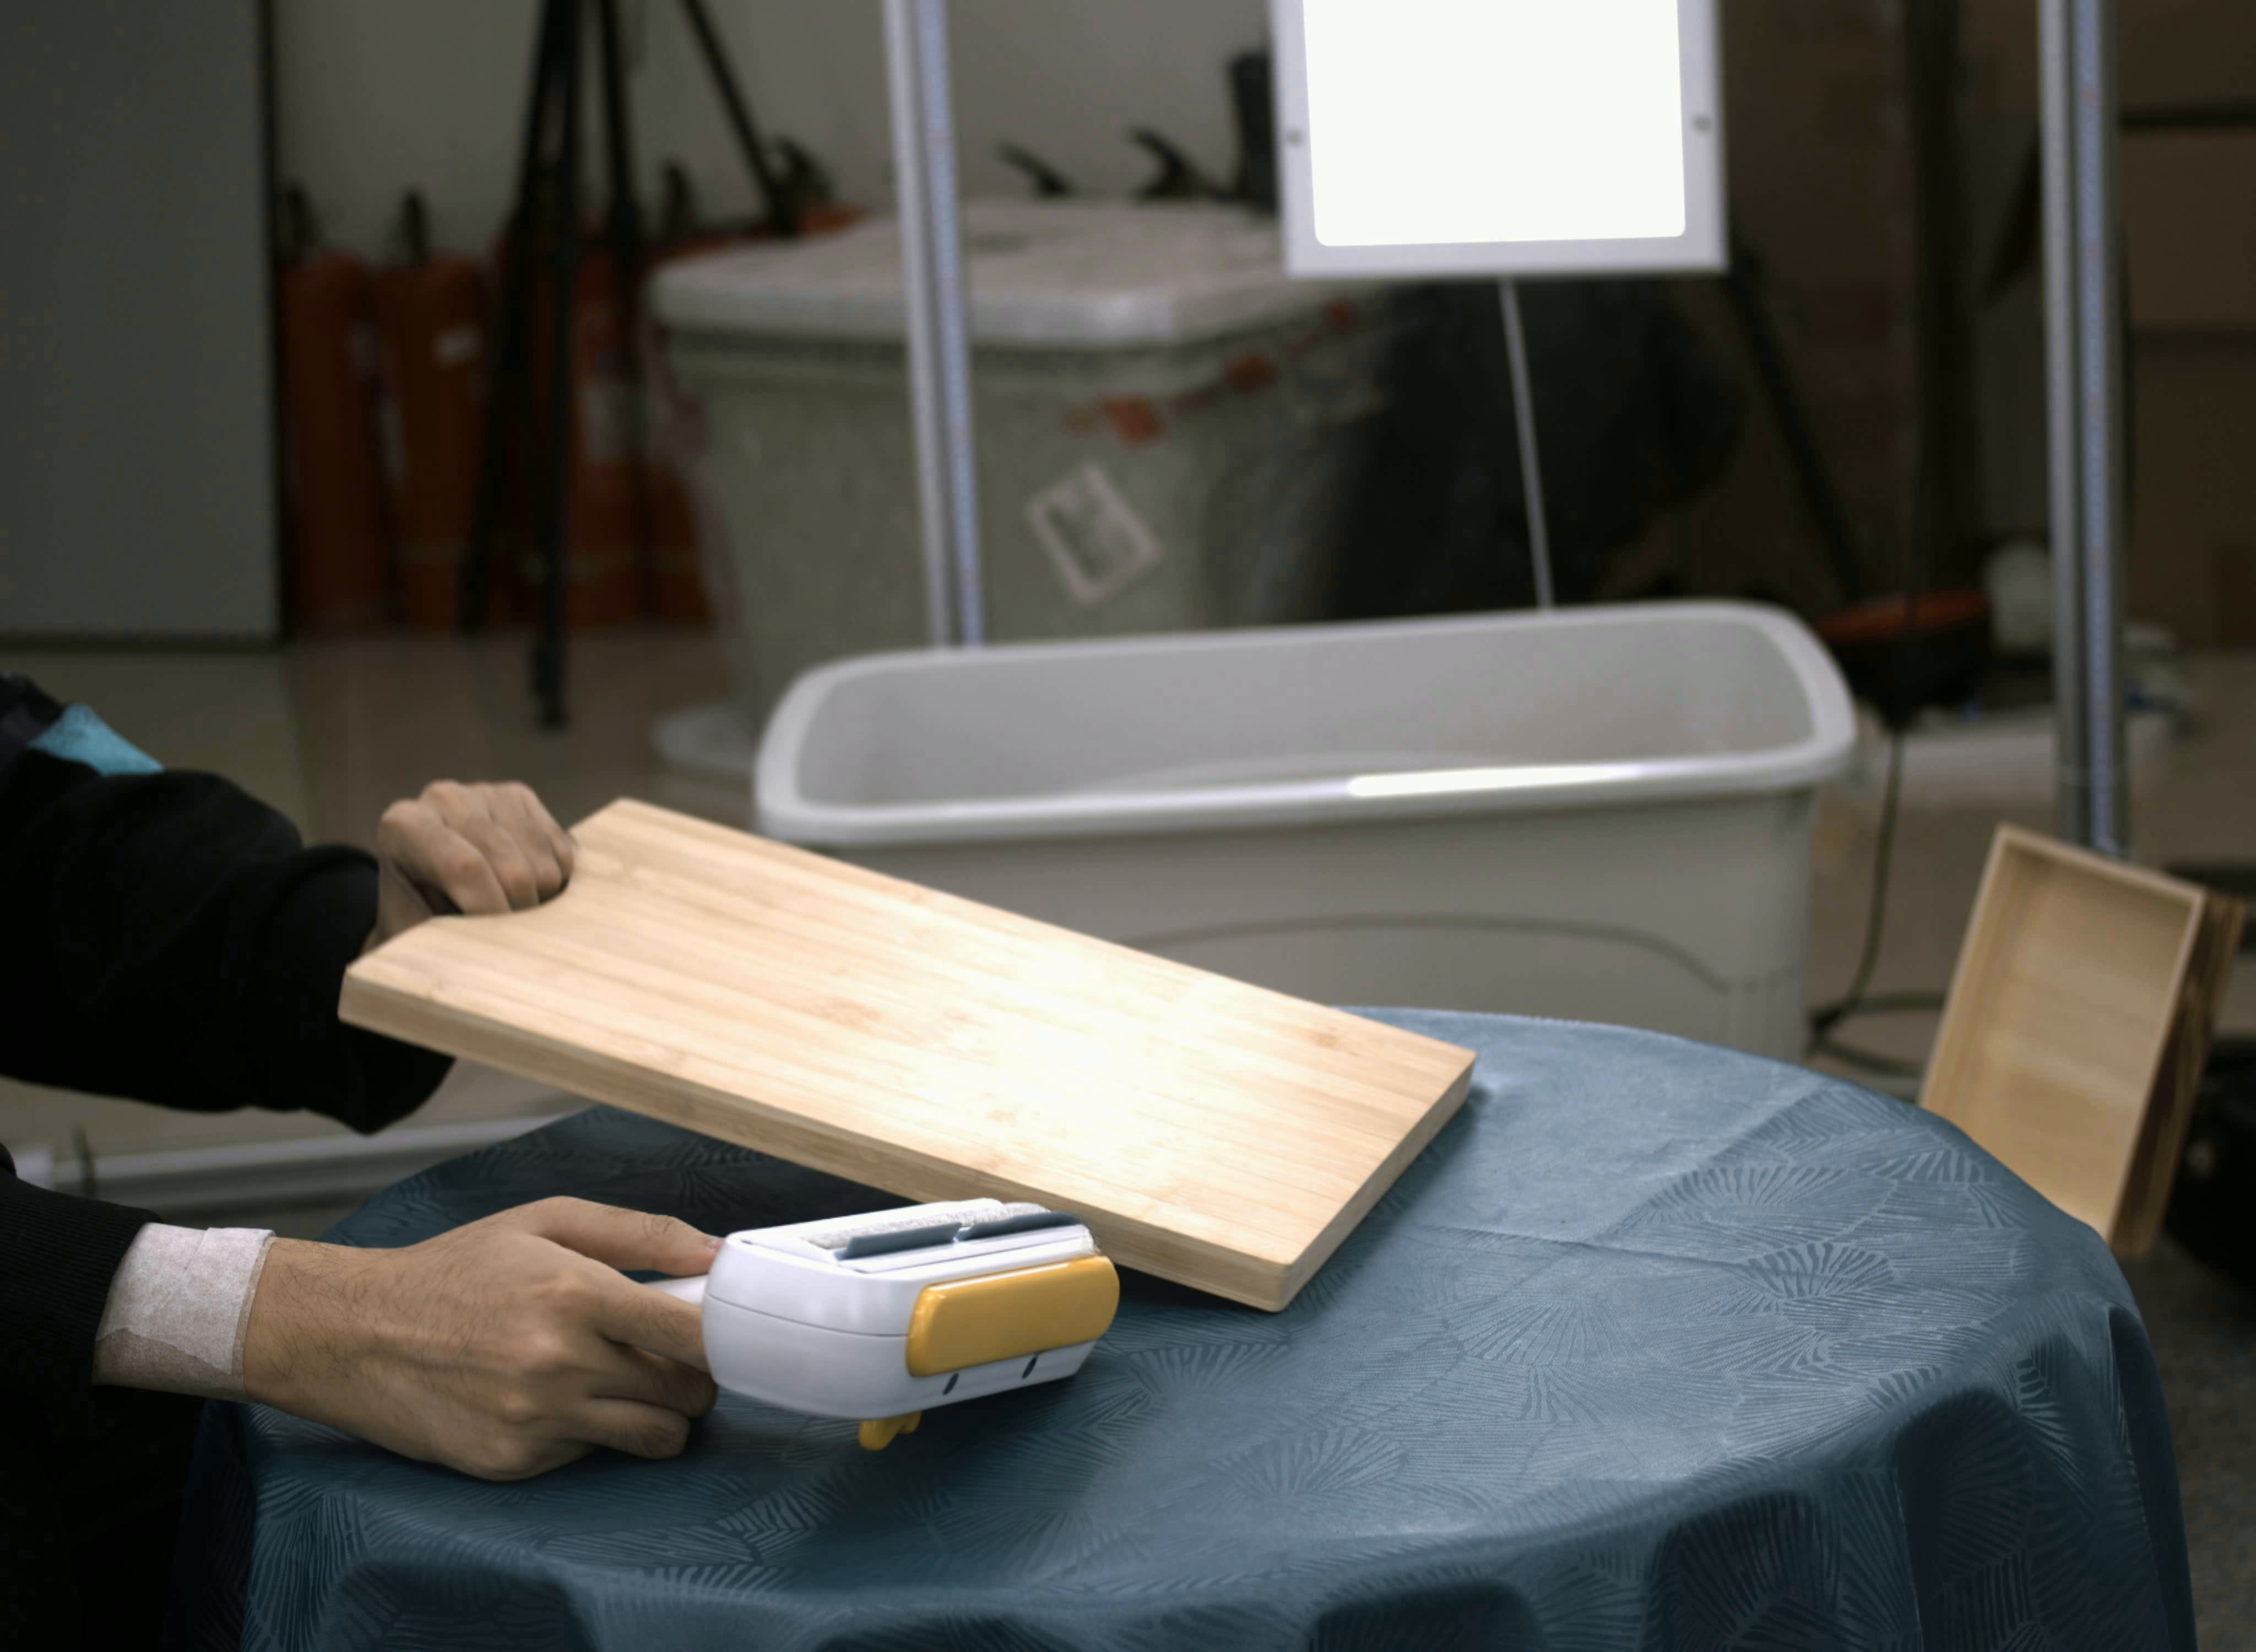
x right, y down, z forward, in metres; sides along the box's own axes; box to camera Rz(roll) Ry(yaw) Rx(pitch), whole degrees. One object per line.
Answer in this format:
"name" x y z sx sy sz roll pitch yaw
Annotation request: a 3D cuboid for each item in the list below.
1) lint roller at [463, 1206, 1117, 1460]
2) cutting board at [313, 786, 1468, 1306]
"lint roller" -0.119 0.149 1.681 0.196 0.074 0.188 3 5 29
"cutting board" -0.076 0.071 1.912 0.352 0.024 0.246 16 19 15
